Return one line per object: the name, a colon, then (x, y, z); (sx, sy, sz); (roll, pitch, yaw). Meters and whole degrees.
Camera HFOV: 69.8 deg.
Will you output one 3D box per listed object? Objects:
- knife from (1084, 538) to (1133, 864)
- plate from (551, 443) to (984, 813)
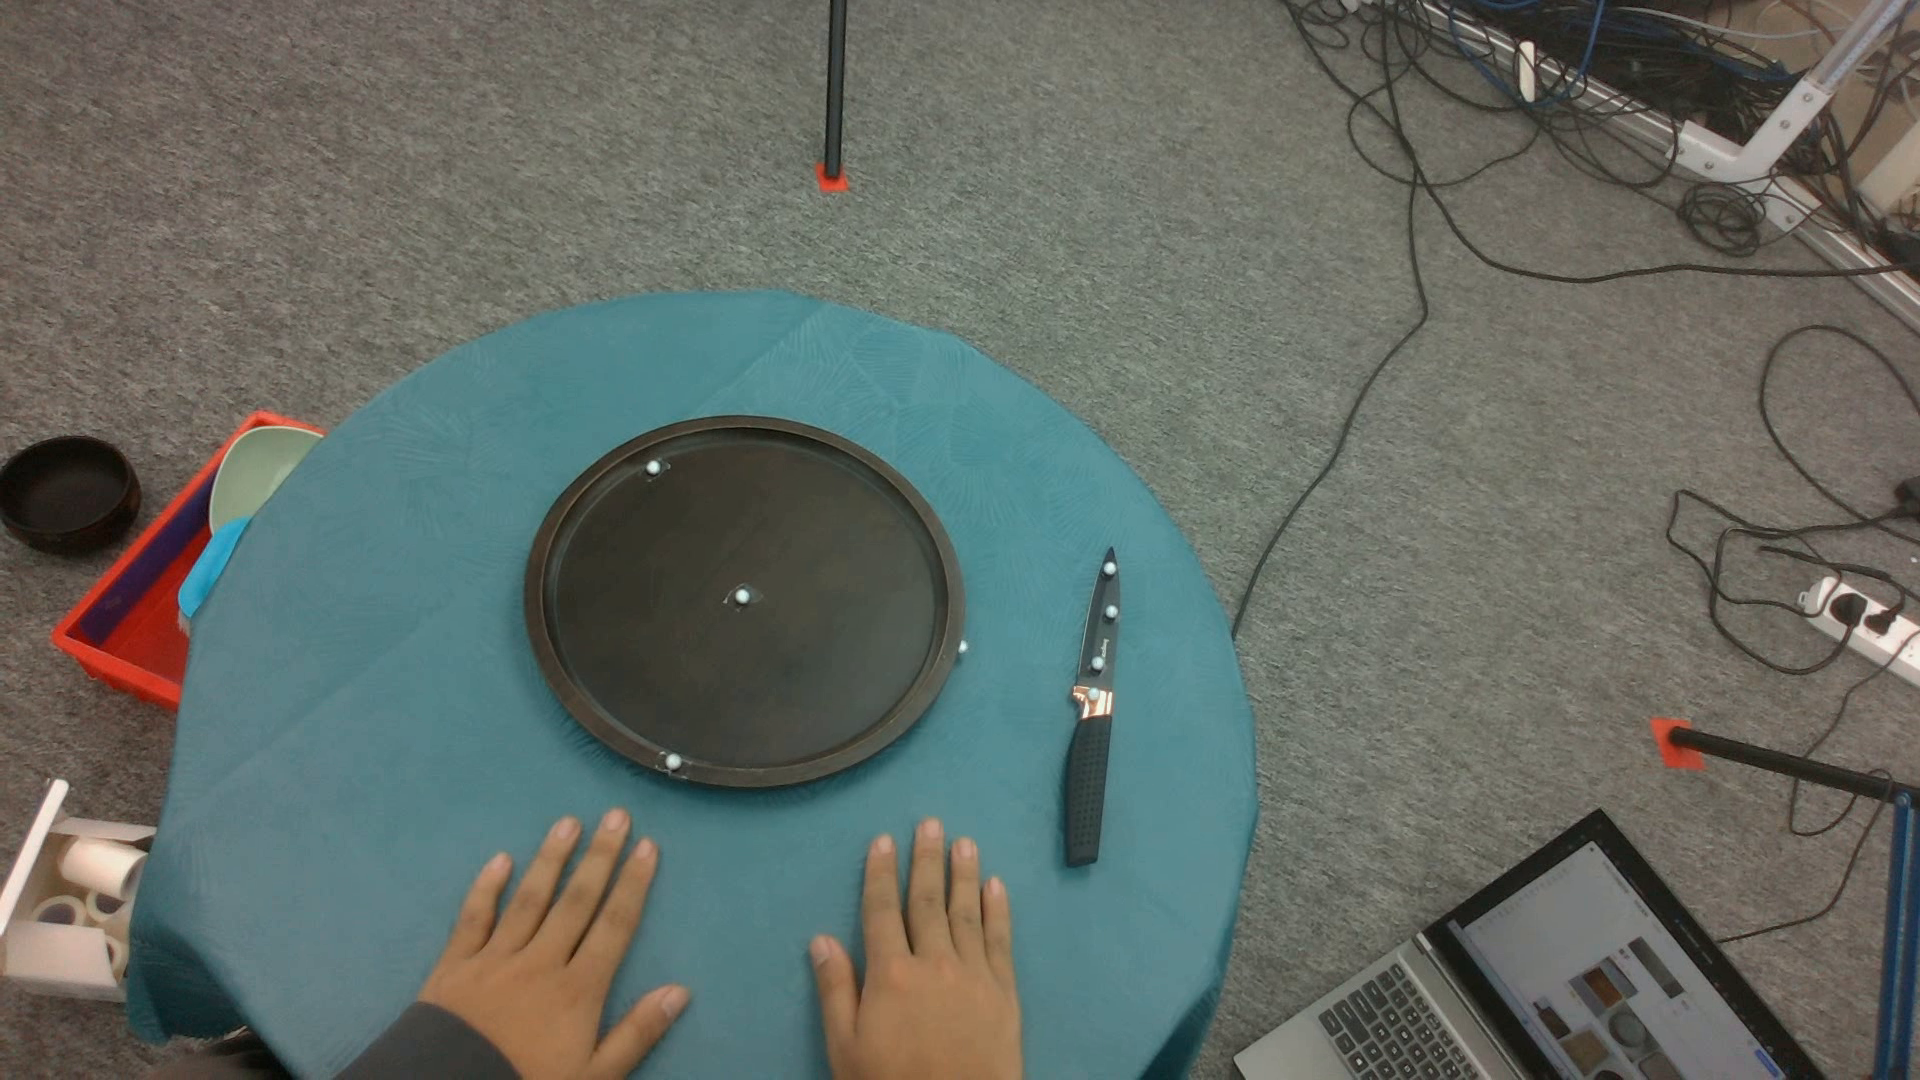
knife: (0.091, 0.090, 0.834); (0.026, 0.017, 0.226); (7, 53, 2)
plate: (-0.112, 0.046, 0.821); (0.255, 0.029, 0.256); (5, 56, -7)
